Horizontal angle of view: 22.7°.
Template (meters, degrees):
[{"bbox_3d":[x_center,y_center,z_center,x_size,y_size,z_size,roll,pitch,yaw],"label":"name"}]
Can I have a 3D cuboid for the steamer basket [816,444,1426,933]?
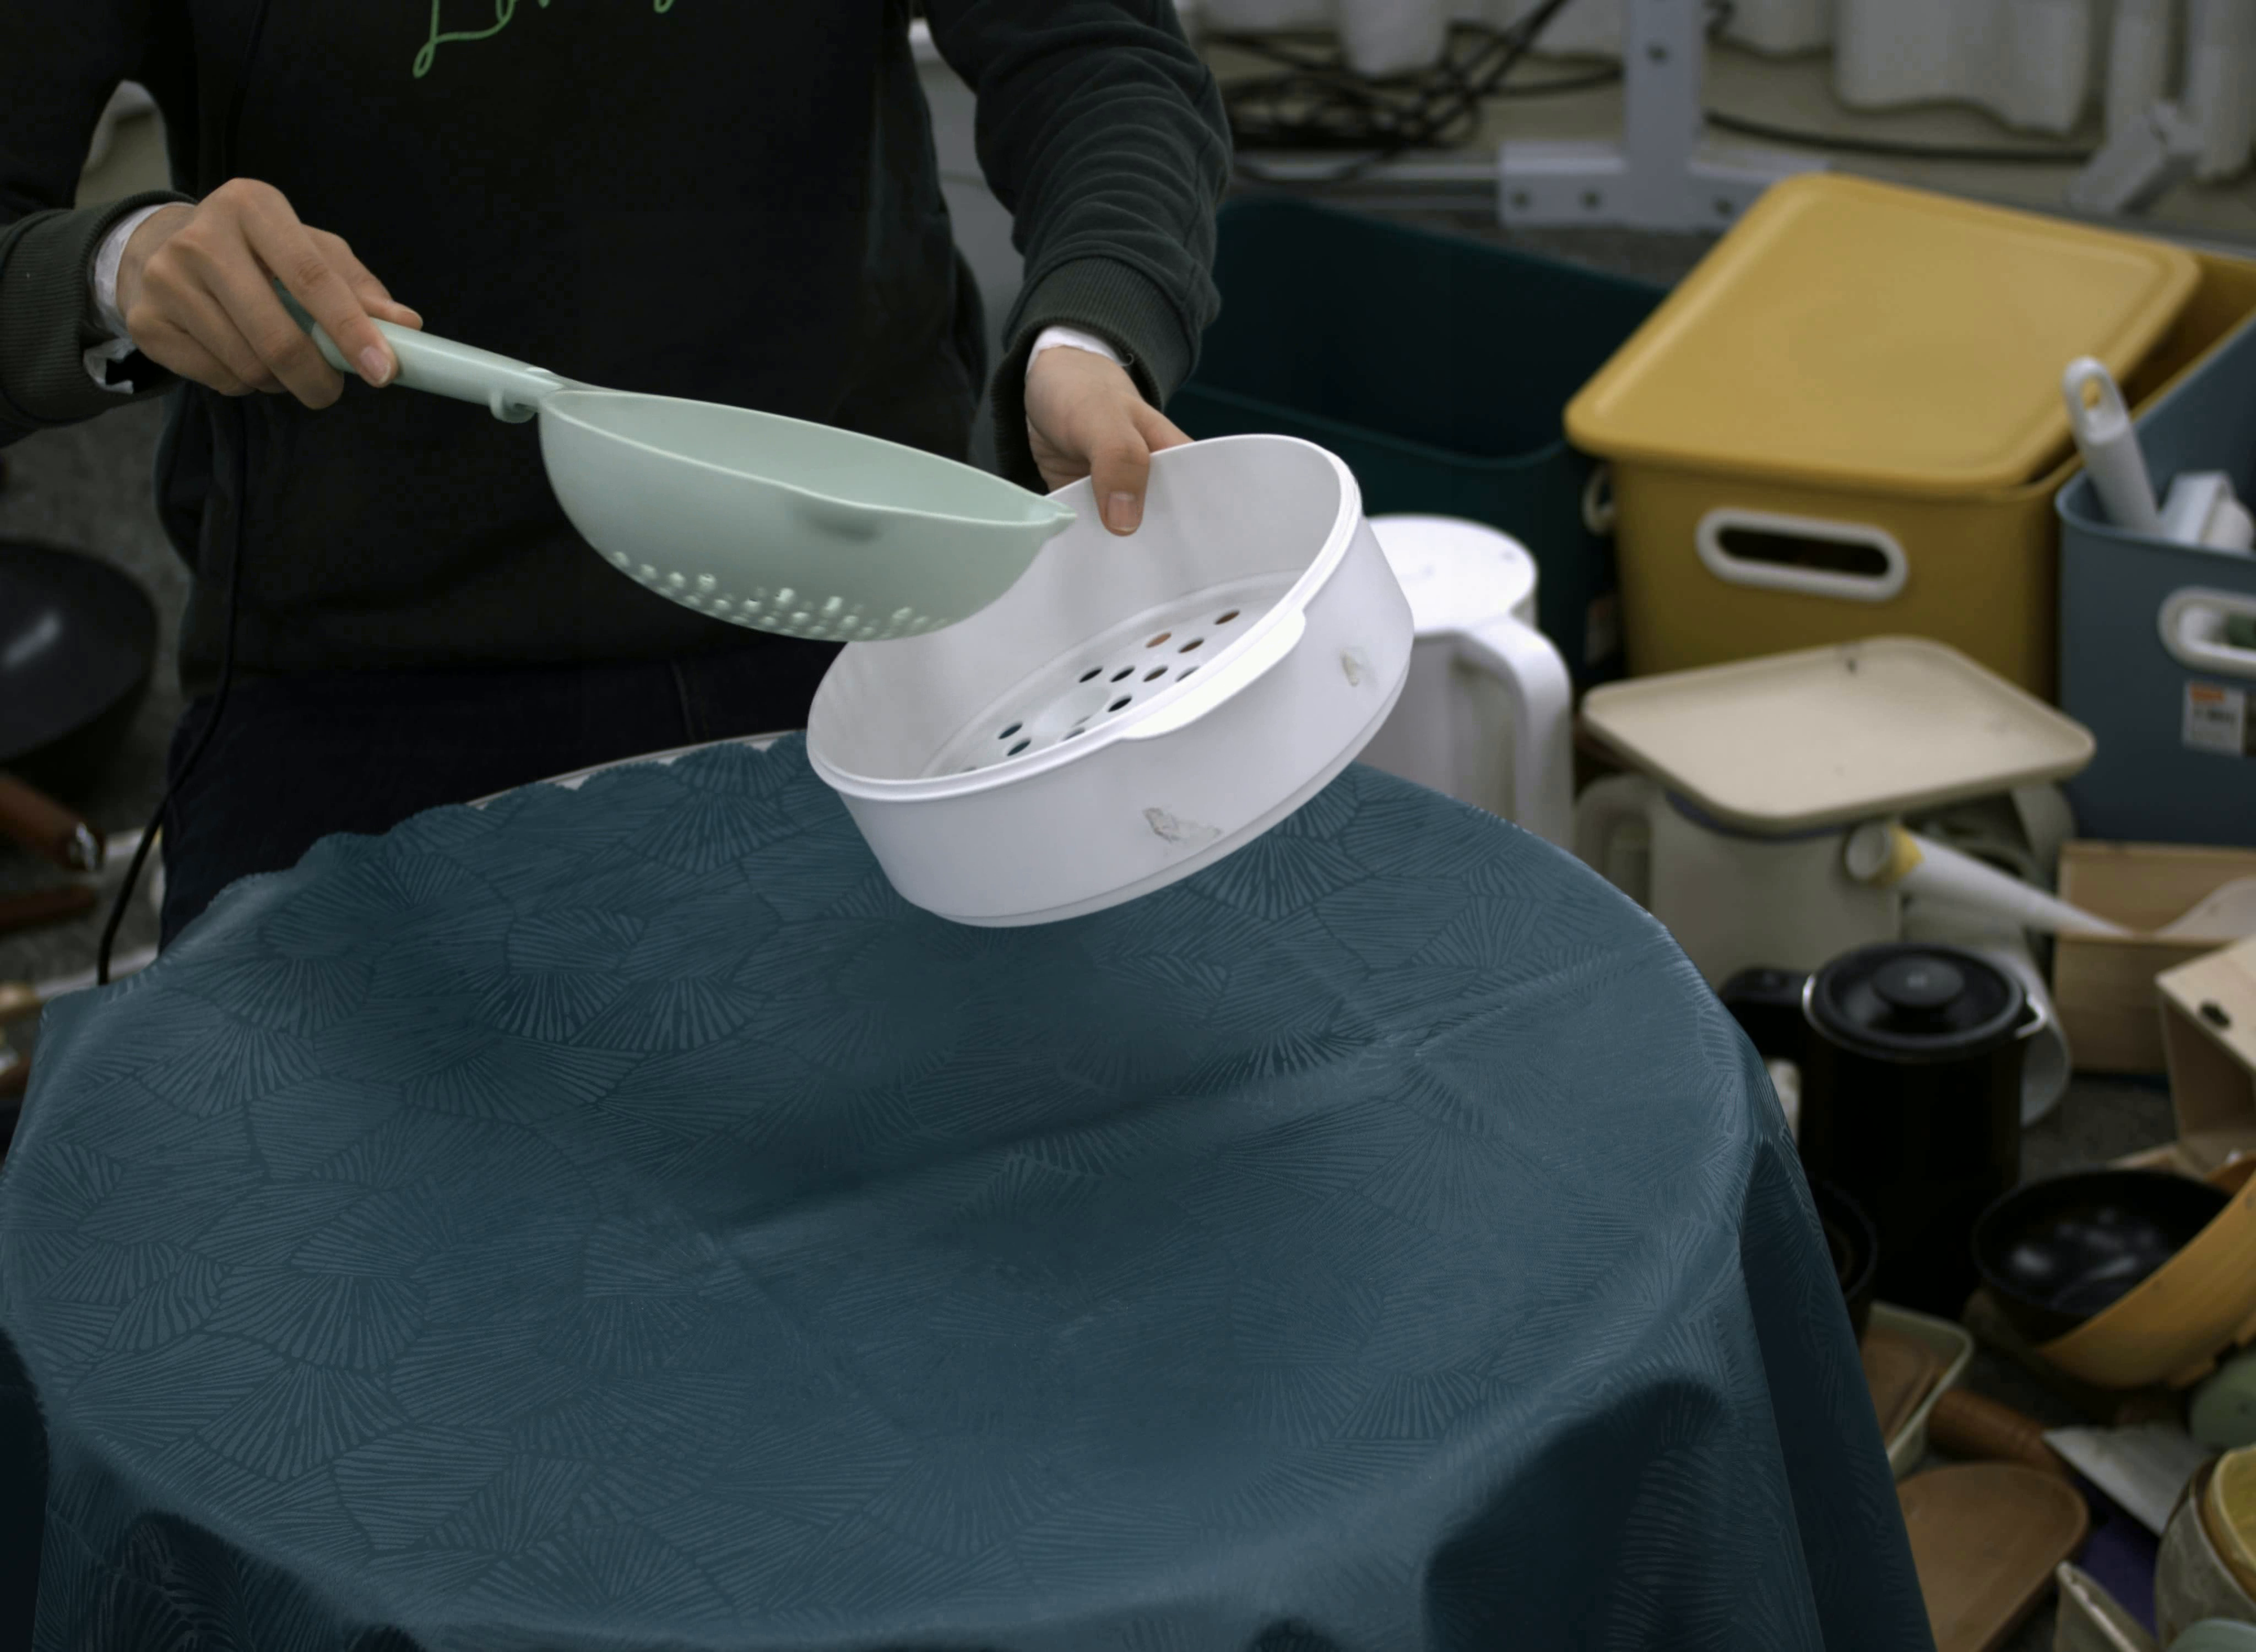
[{"bbox_3d":[0.000,-0.044,1.836,0.203,0.069,0.230,-35,25,-17],"label":"steamer basket"}]

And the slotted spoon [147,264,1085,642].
[{"bbox_3d":[-0.185,-0.136,1.862,0.359,0.075,0.170,28,14,27],"label":"slotted spoon"}]
